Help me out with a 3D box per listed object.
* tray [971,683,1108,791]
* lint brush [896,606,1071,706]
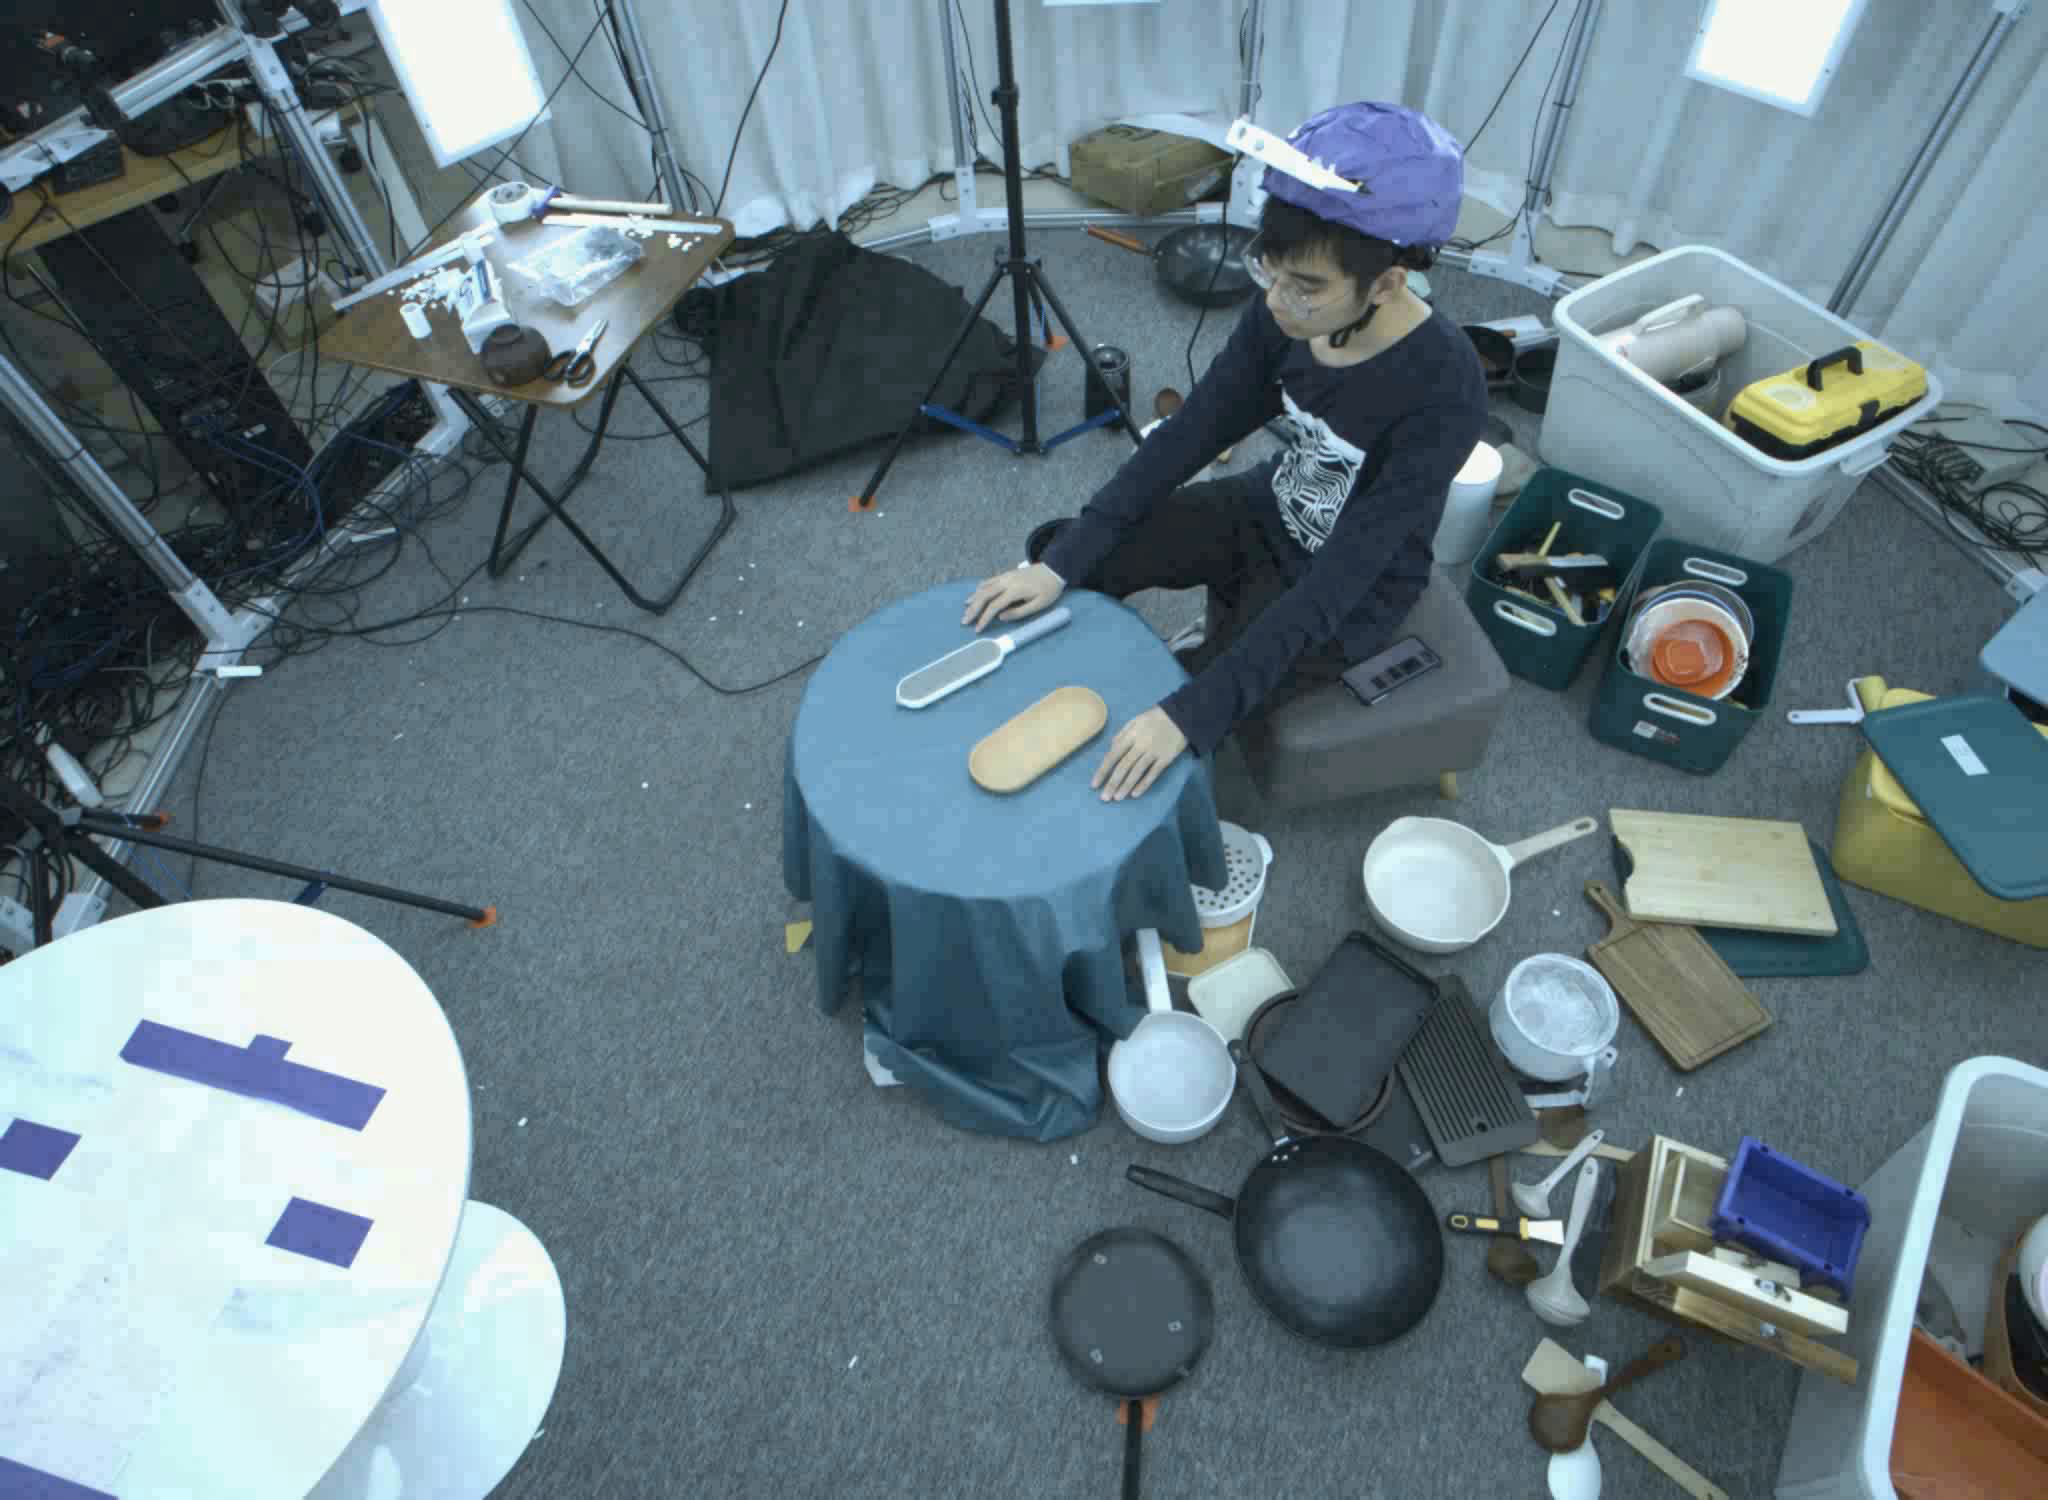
[{"bbox_3d":[0.024,-0.019,1.799,0.233,0.020,0.100,-35,63,-23],"label":"tray"},{"bbox_3d":[-0.058,-0.148,1.885,0.311,0.021,0.059,-29,53,-18],"label":"lint brush"}]
